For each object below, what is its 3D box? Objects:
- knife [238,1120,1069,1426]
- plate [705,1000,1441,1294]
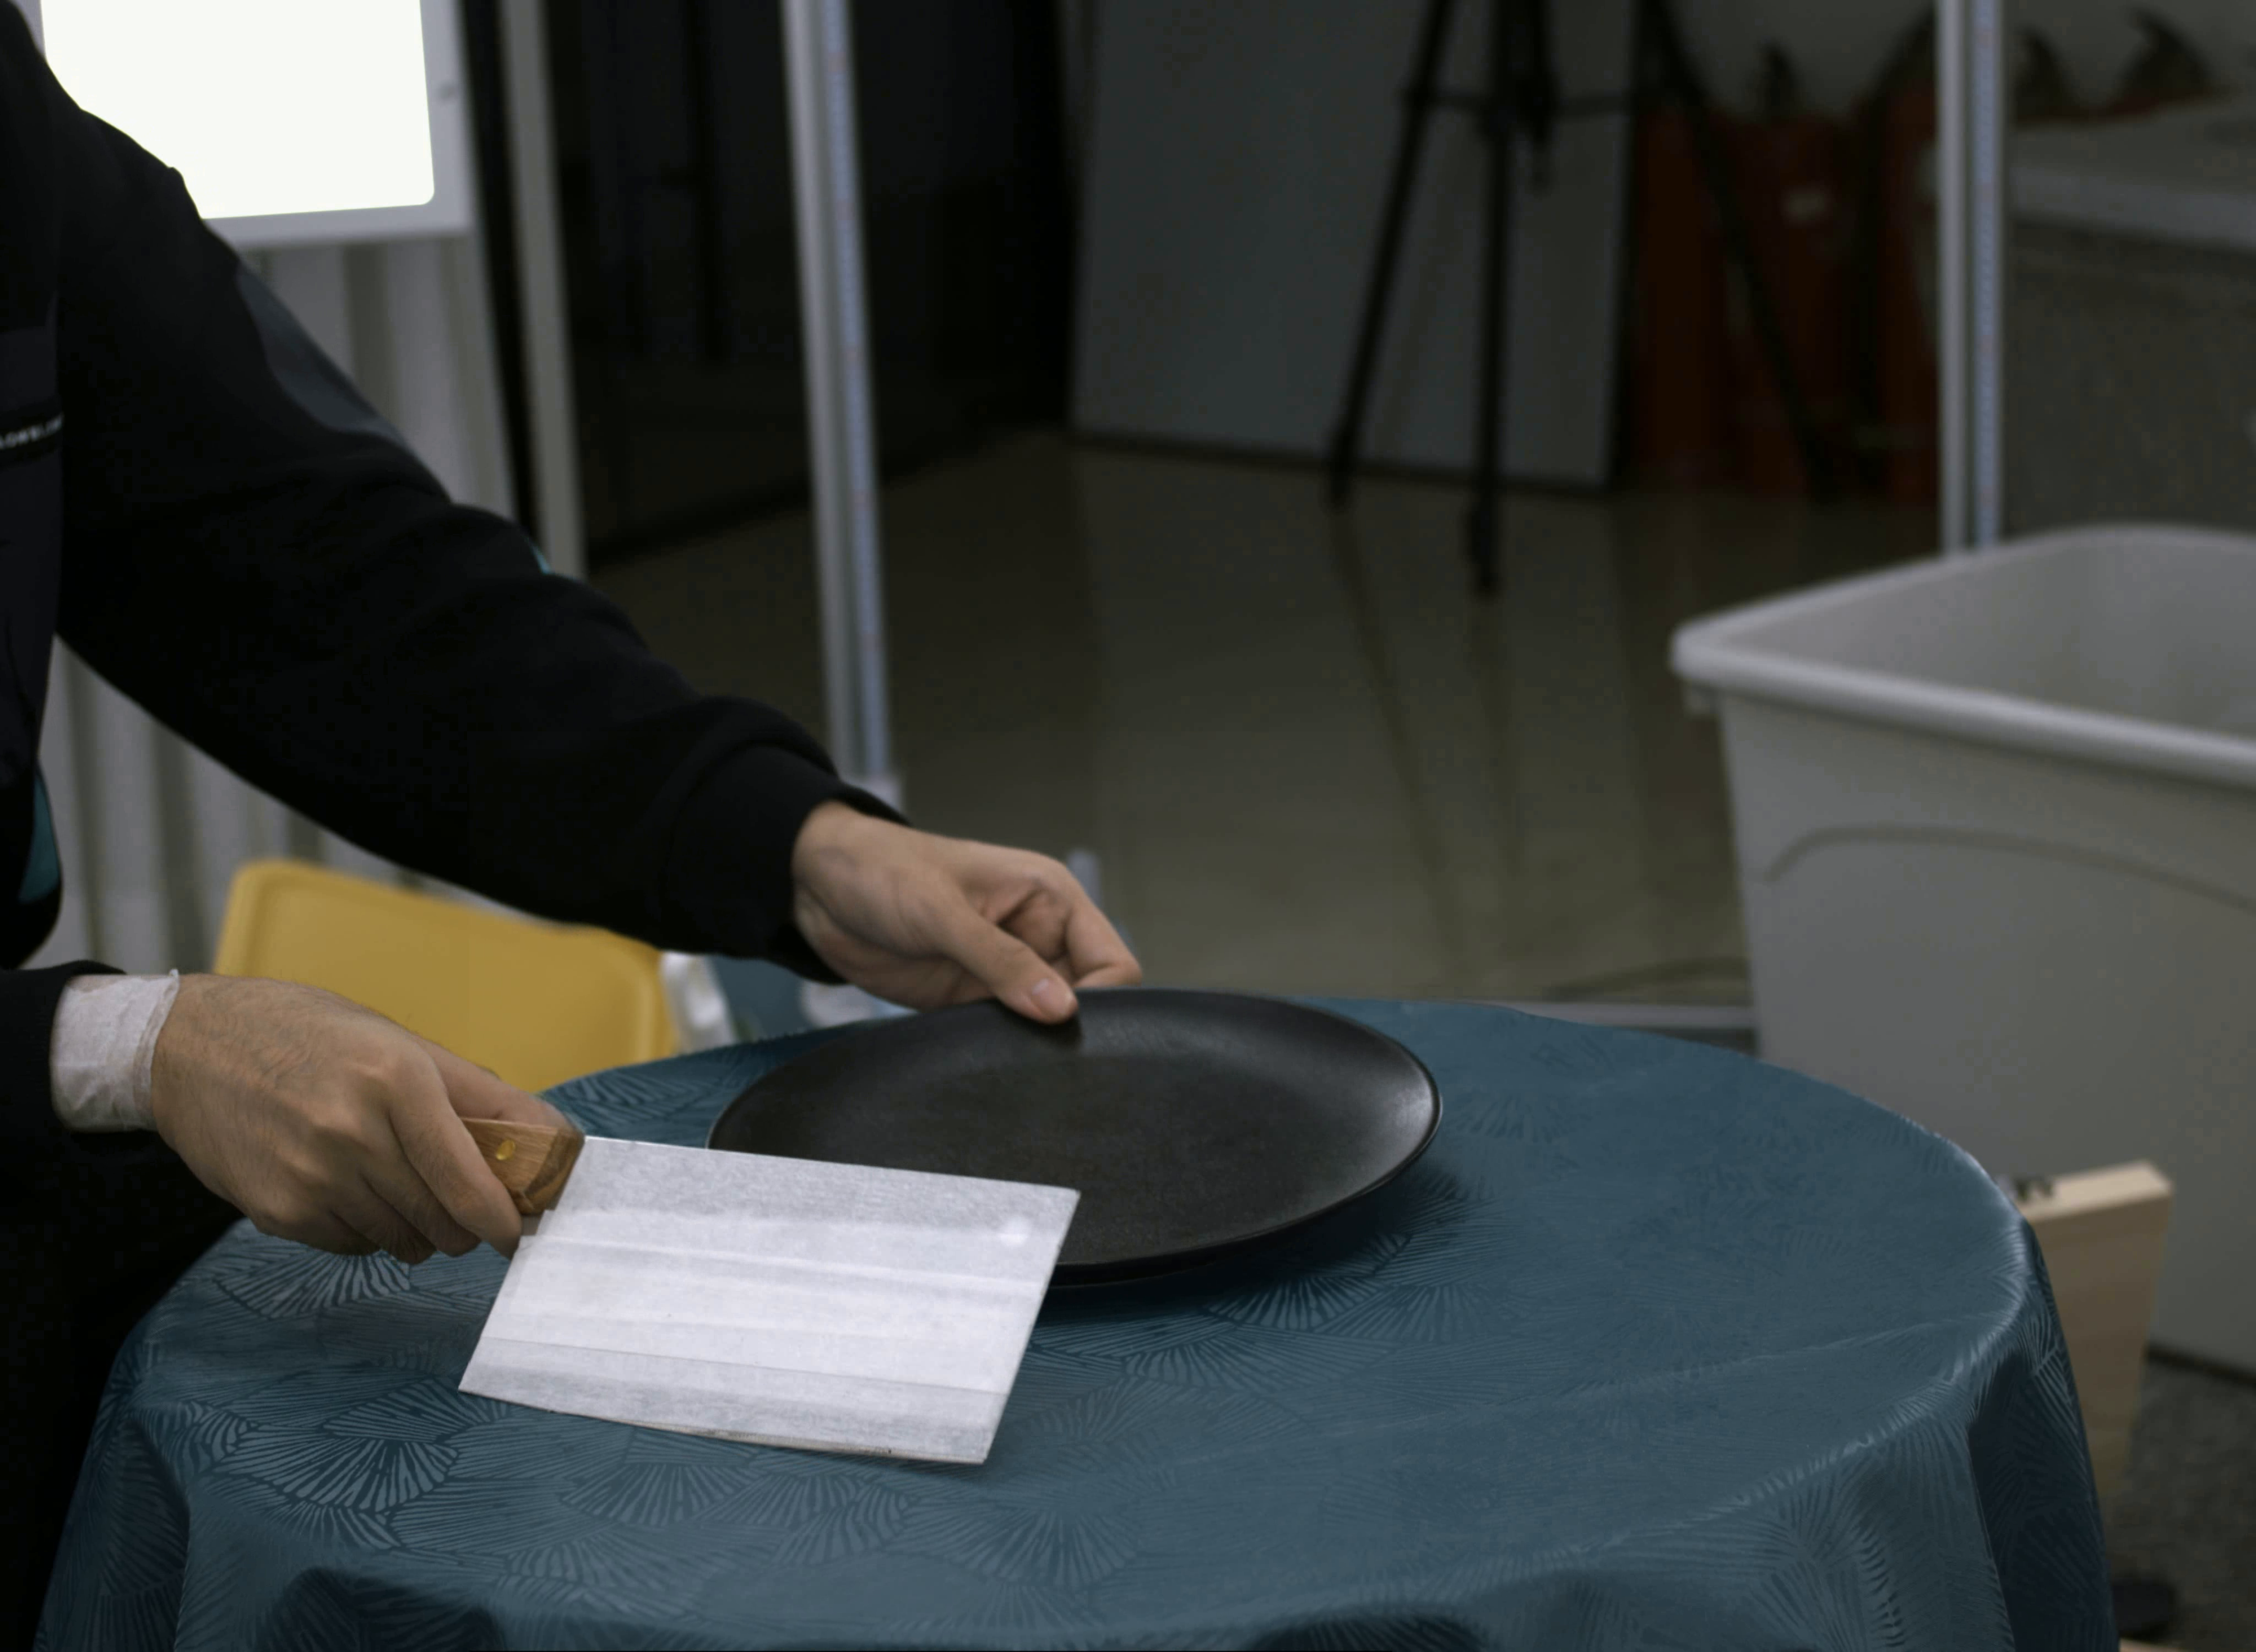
[{"bbox_3d":[-0.154,0.134,1.621,0.307,0.093,0.021,3,-30,33],"label":"knife"},{"bbox_3d":[-0.017,0.107,1.760,0.241,0.023,0.245,-5,17,1],"label":"plate"}]
